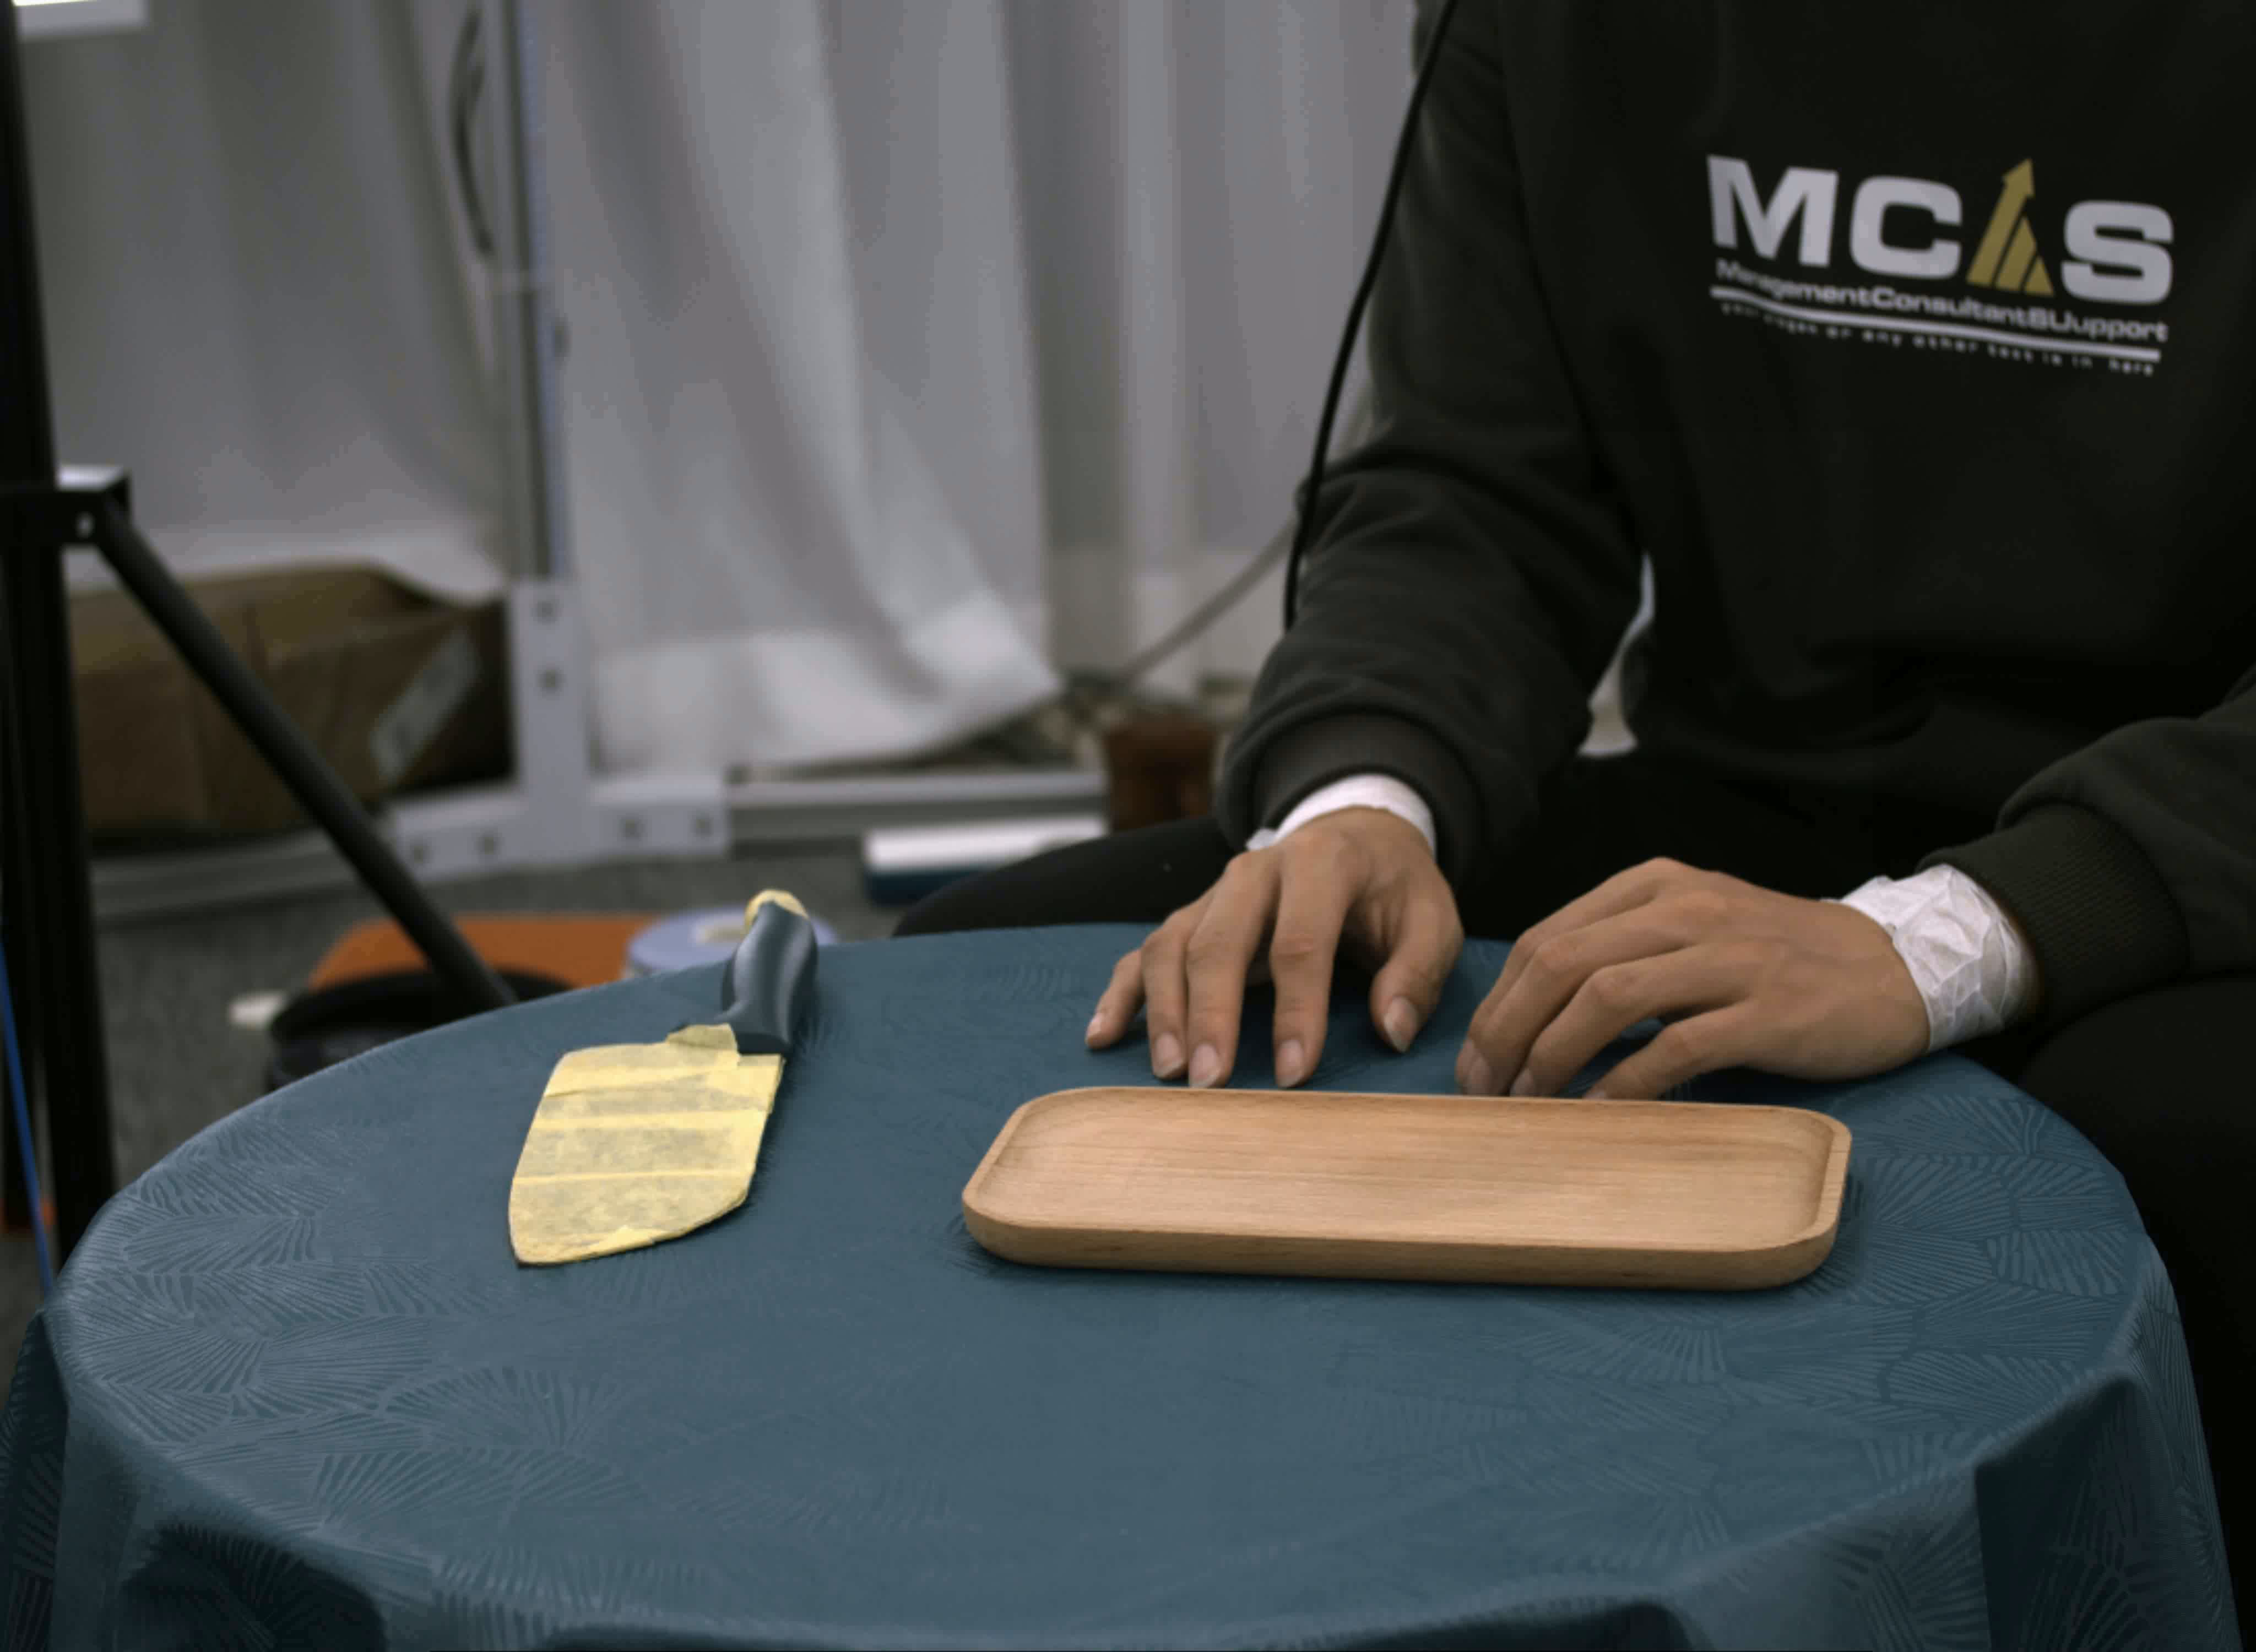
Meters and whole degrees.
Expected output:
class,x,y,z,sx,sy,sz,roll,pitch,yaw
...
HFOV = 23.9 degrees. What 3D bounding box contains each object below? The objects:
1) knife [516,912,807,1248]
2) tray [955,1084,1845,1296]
class,x,y,z,sx,sy,sz,roll,pitch,yaw
knife,-0.142,0.079,1.660,0.081,0.027,0.289,1,17,5
tray,0.080,0.105,1.531,0.252,0.023,0.129,1,13,13
